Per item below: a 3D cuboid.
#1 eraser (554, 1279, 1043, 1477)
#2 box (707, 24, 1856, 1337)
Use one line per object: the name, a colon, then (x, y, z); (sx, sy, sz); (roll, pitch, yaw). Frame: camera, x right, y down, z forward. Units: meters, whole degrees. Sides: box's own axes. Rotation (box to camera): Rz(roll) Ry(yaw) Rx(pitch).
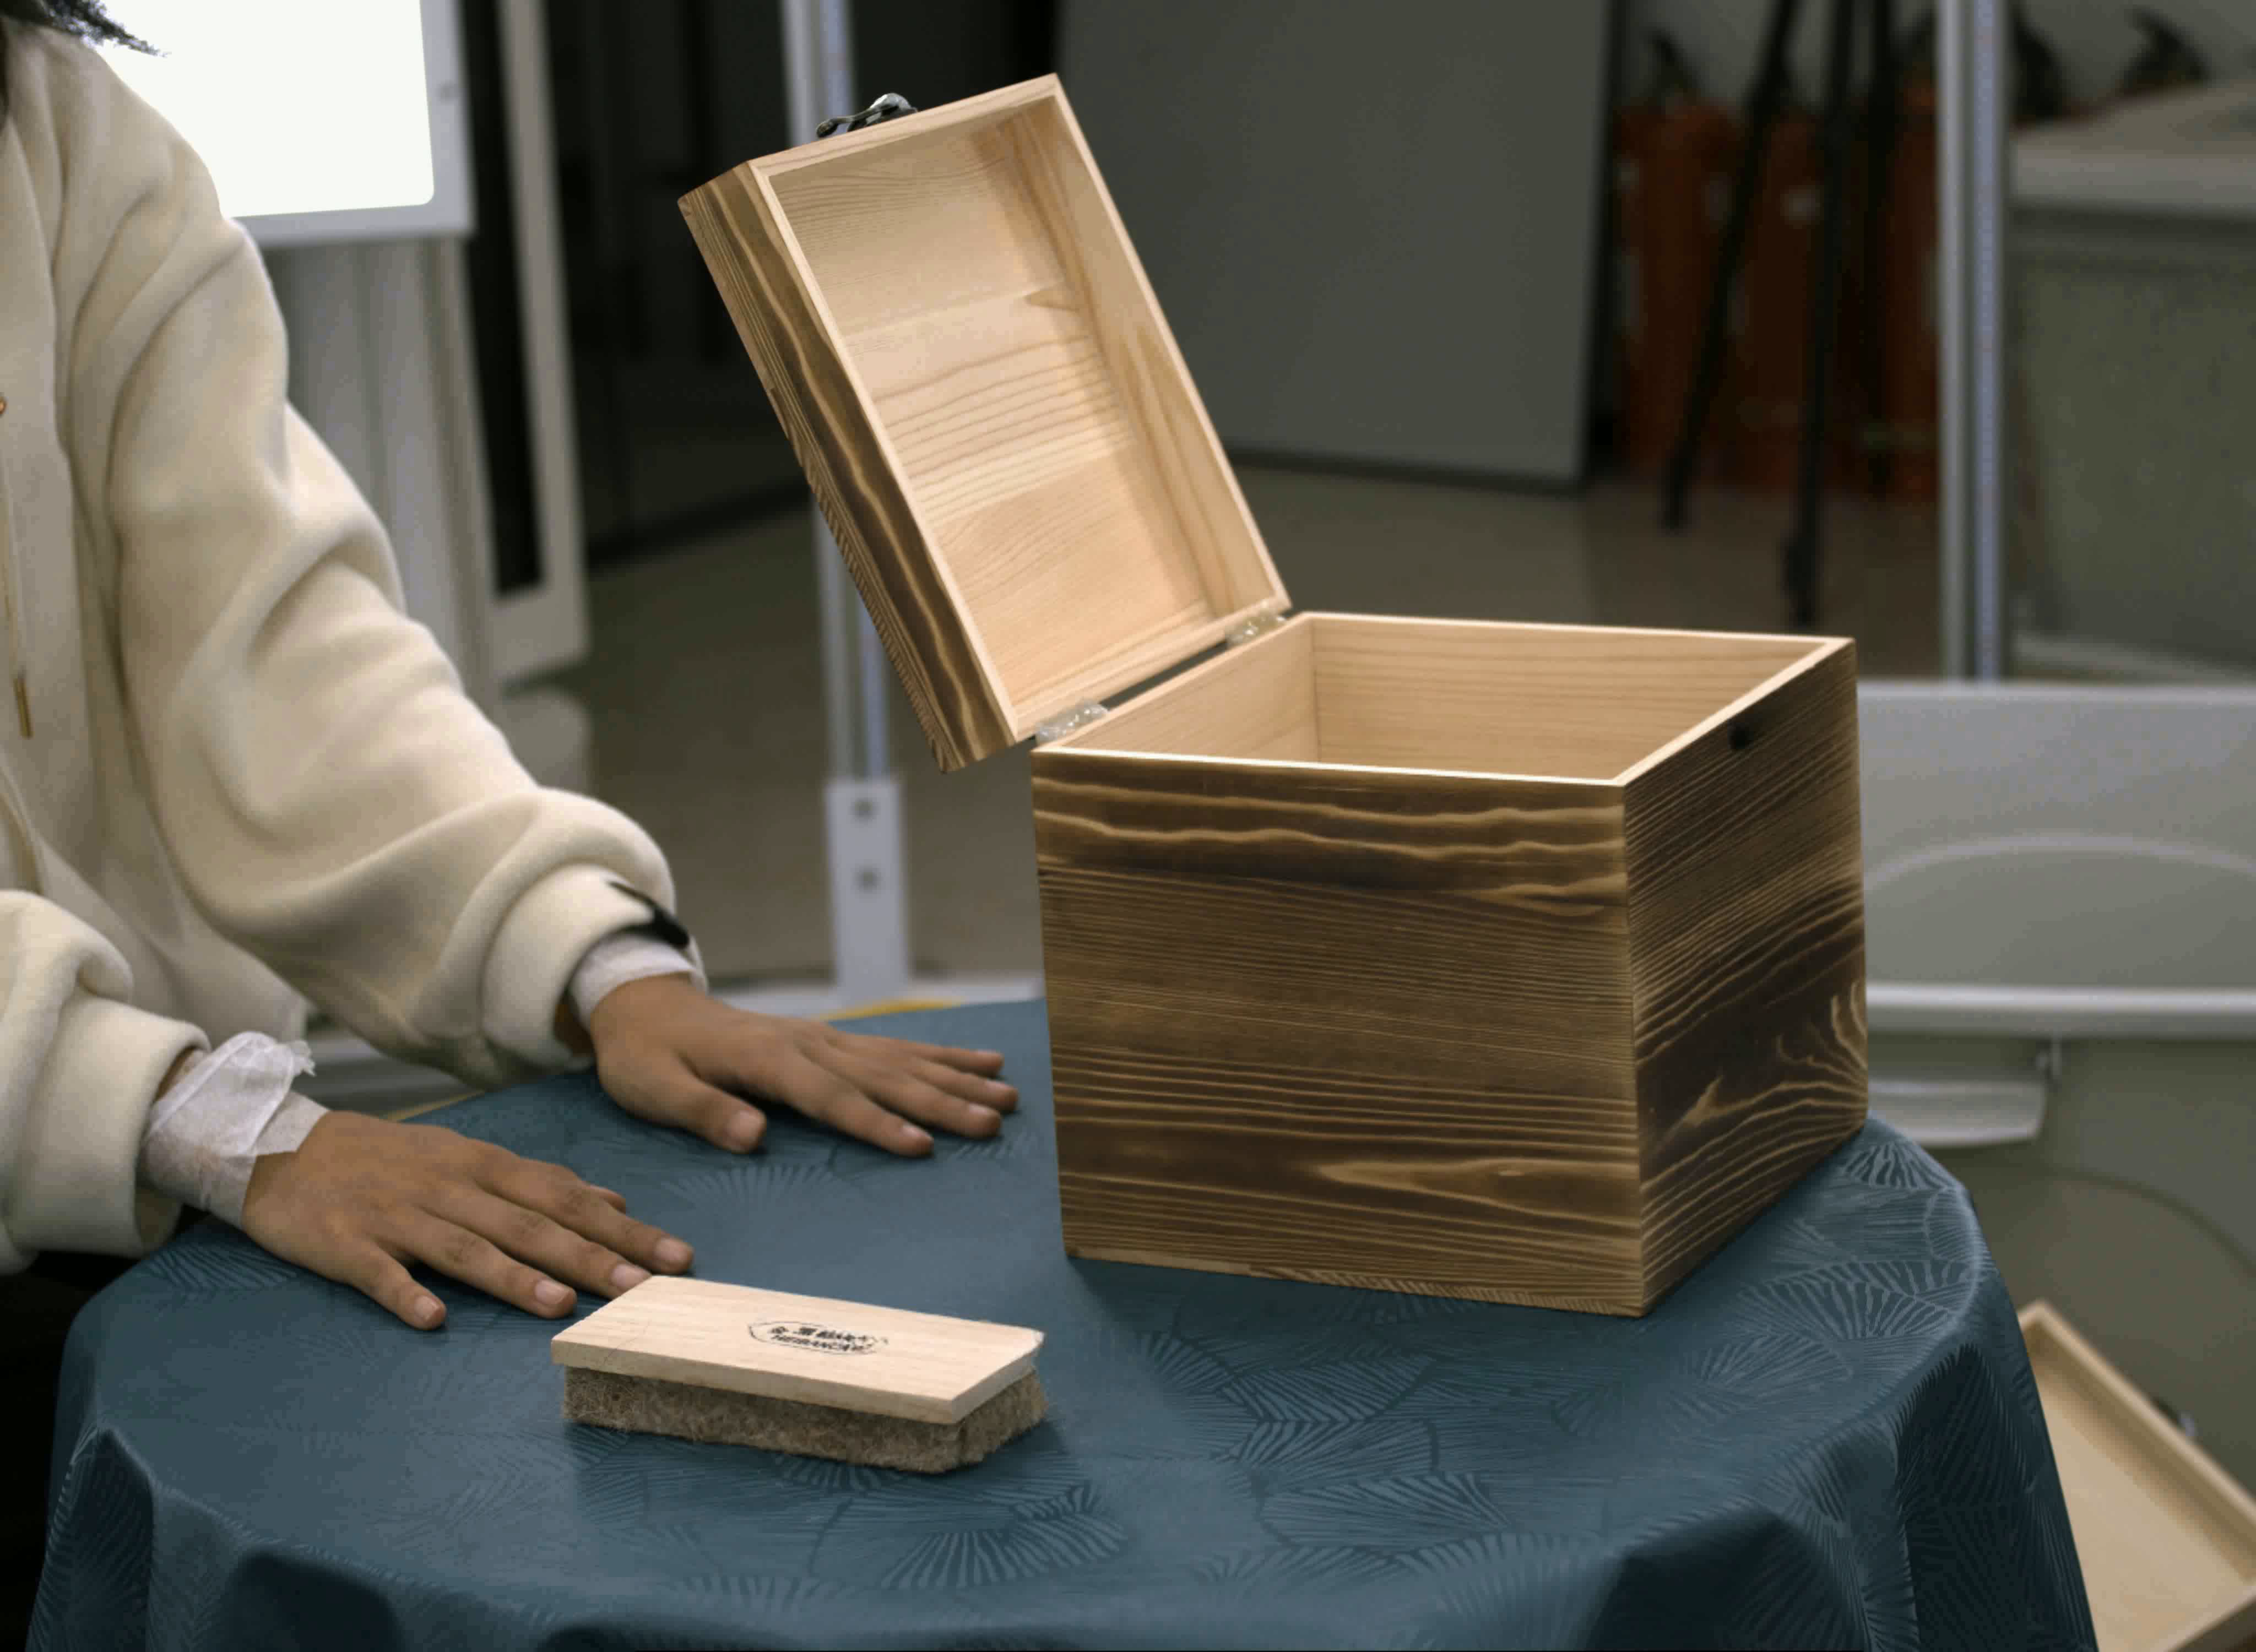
eraser: (-0.095, 0.161, 1.575); (0.140, 0.029, 0.056); (4, 18, 32)
box: (0.055, -0.061, 1.725); (0.323, 0.379, 0.206); (3, 16, 28)
